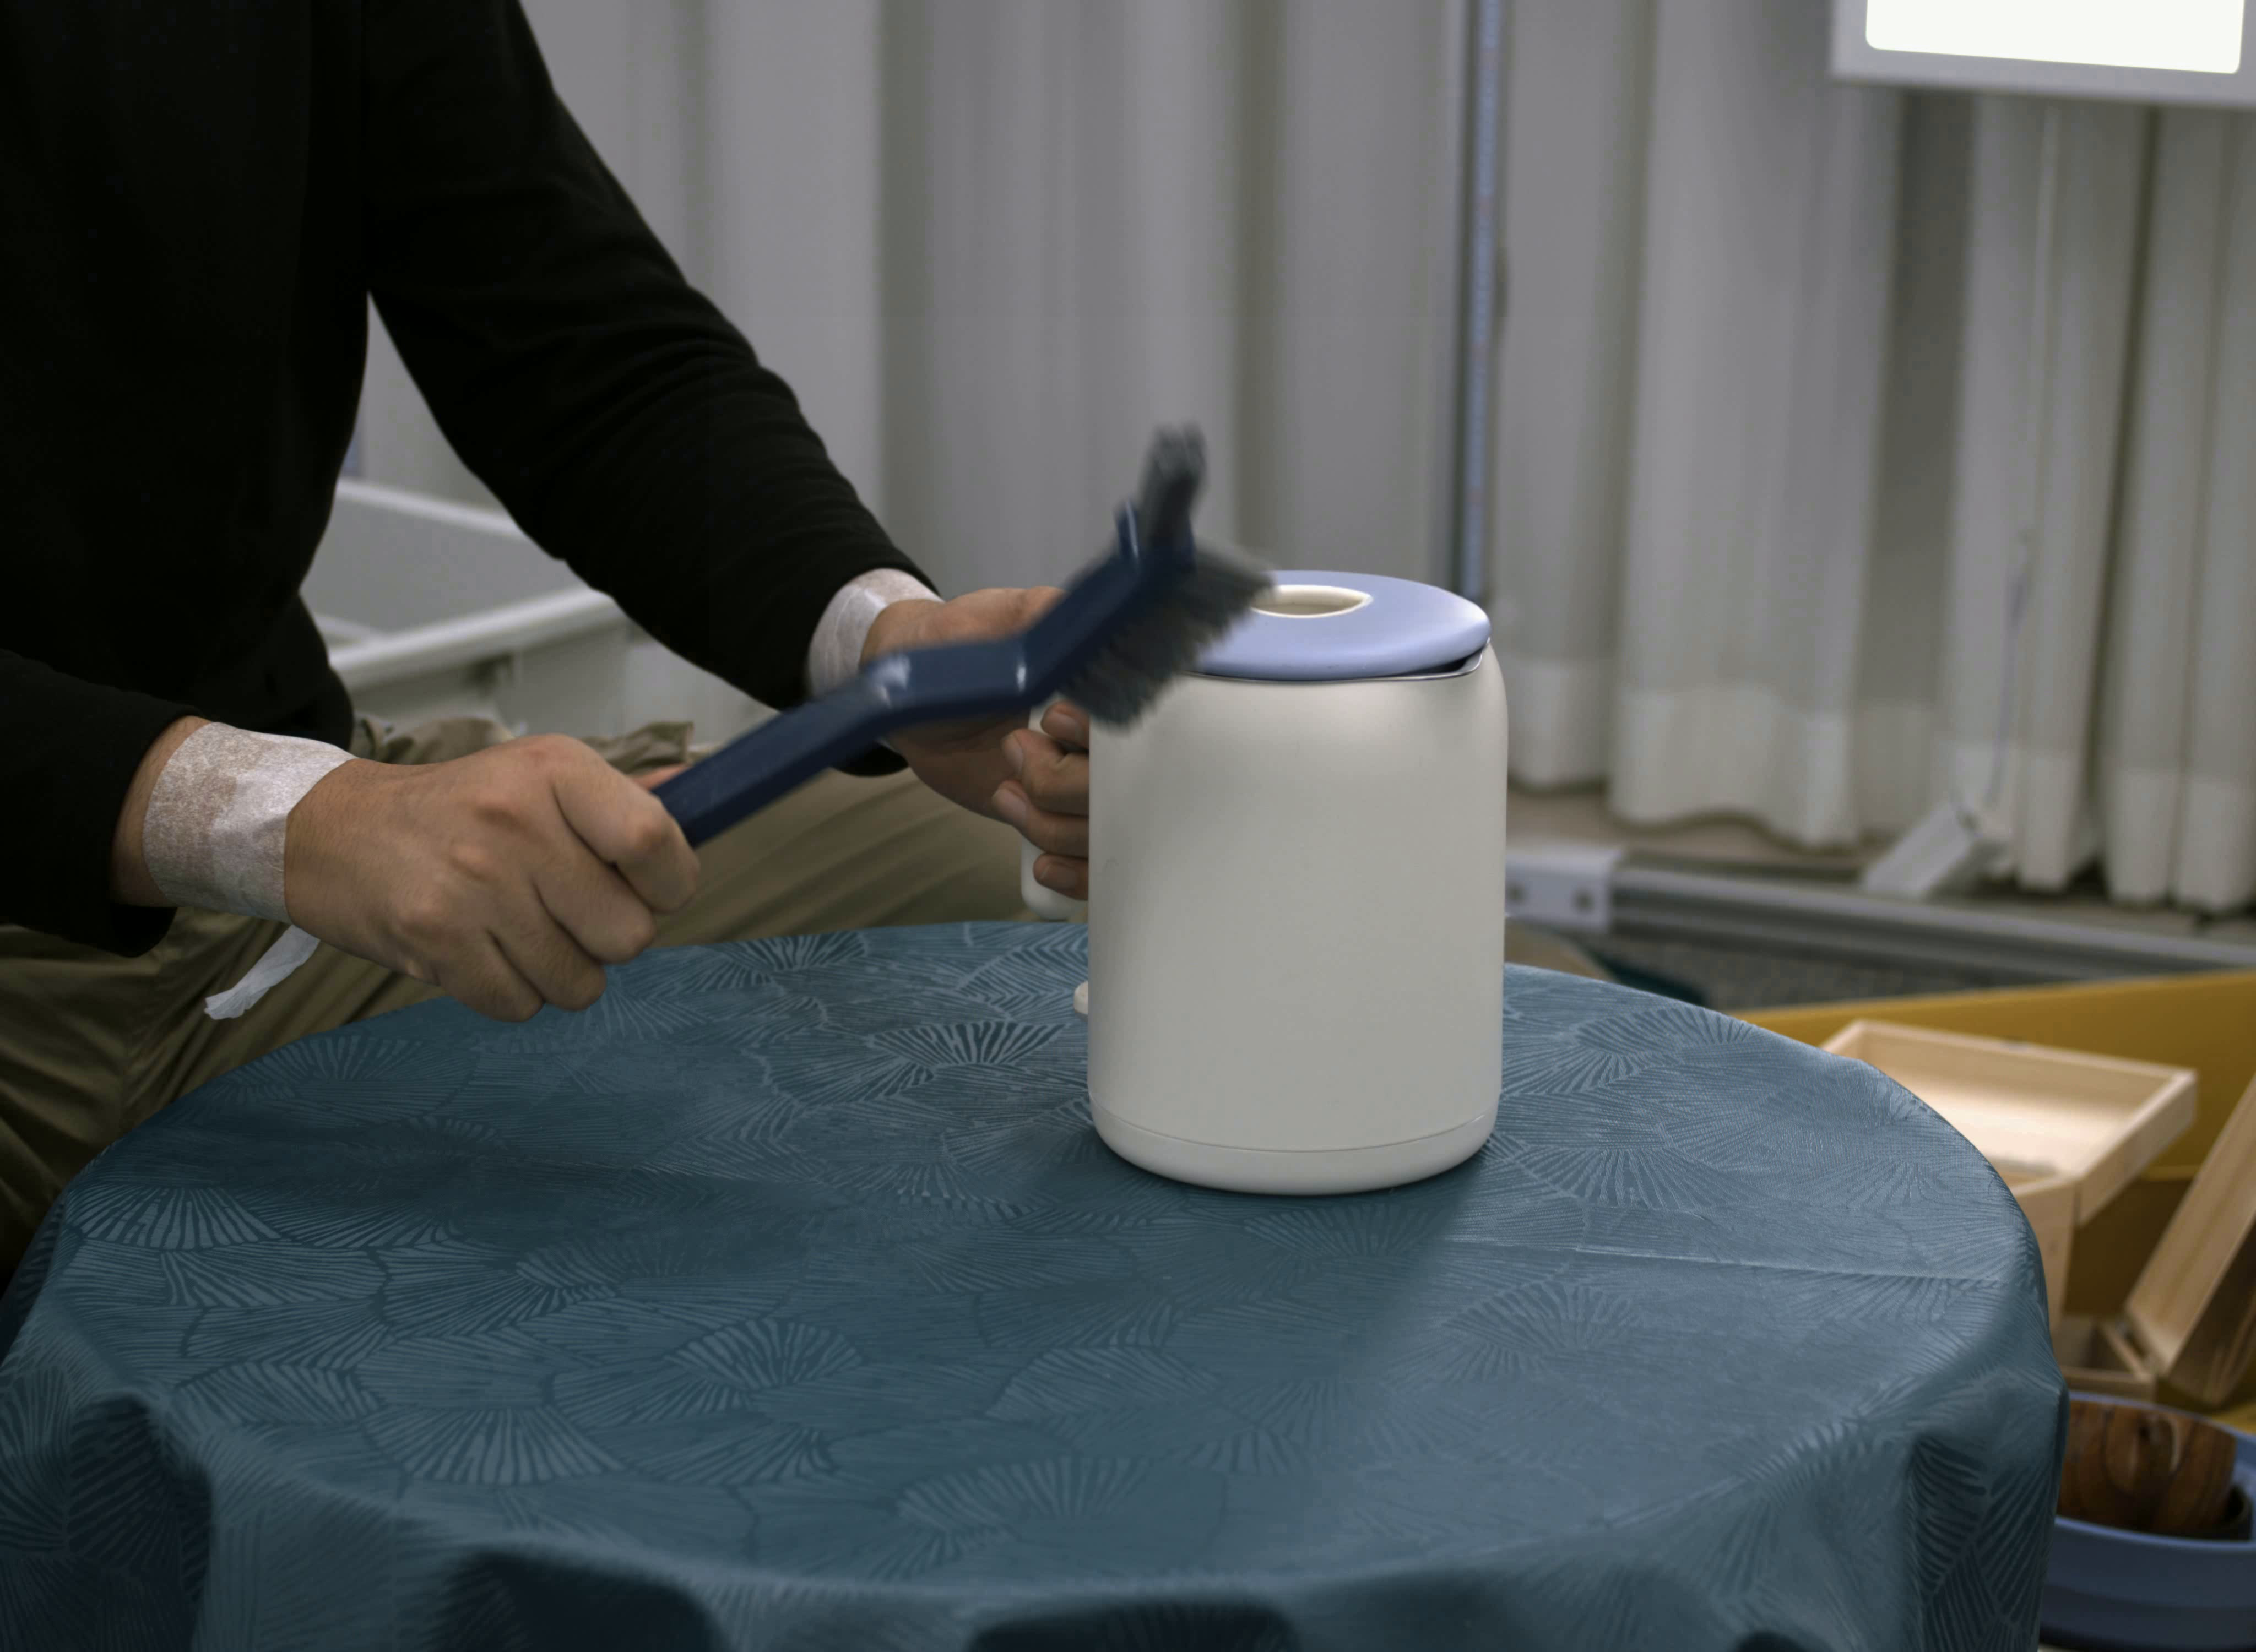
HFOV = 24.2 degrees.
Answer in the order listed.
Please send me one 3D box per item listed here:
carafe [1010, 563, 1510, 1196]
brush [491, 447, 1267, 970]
[{"bbox_3d":[0.035,0.011,1.664,0.188,0.184,0.133,13,20,41],"label":"carafe"},{"bbox_3d":[-0.087,-0.032,1.550,0.272,0.097,0.033,-21,48,17],"label":"brush"}]
